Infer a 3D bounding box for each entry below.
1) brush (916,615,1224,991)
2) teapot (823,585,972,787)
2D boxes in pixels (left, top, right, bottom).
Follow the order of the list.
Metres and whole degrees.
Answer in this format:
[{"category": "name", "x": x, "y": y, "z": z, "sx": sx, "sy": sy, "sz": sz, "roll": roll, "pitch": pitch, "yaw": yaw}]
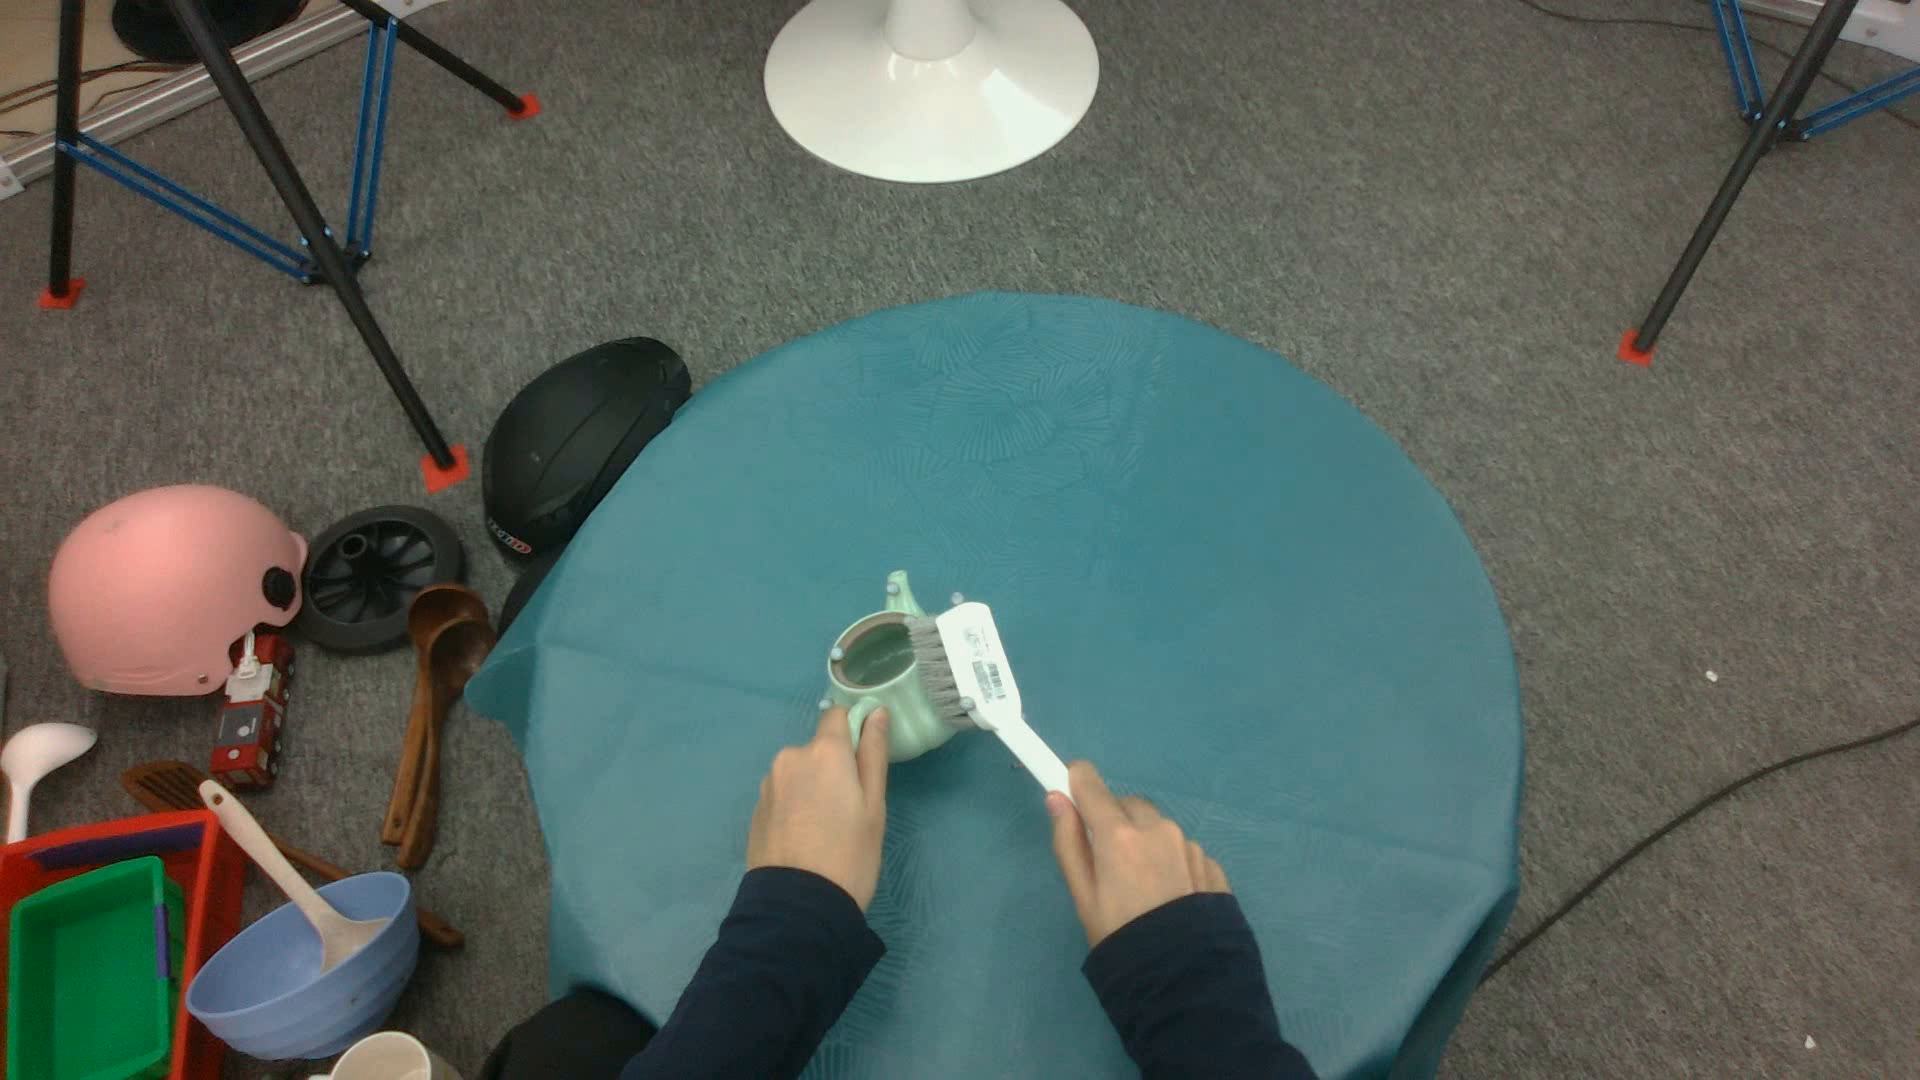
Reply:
[{"category": "brush", "x": 0.052, "y": 0.141, "z": 0.737, "sx": 0.034, "sy": 0.050, "sz": 0.244, "roll": -8, "pitch": 56, "yaw": -51}, {"category": "teapot", "x": -0.038, "y": 0.092, "z": 0.802, "sx": 0.096, "sy": 0.061, "sz": 0.137, "roll": -6, "pitch": 39, "yaw": 17}]
